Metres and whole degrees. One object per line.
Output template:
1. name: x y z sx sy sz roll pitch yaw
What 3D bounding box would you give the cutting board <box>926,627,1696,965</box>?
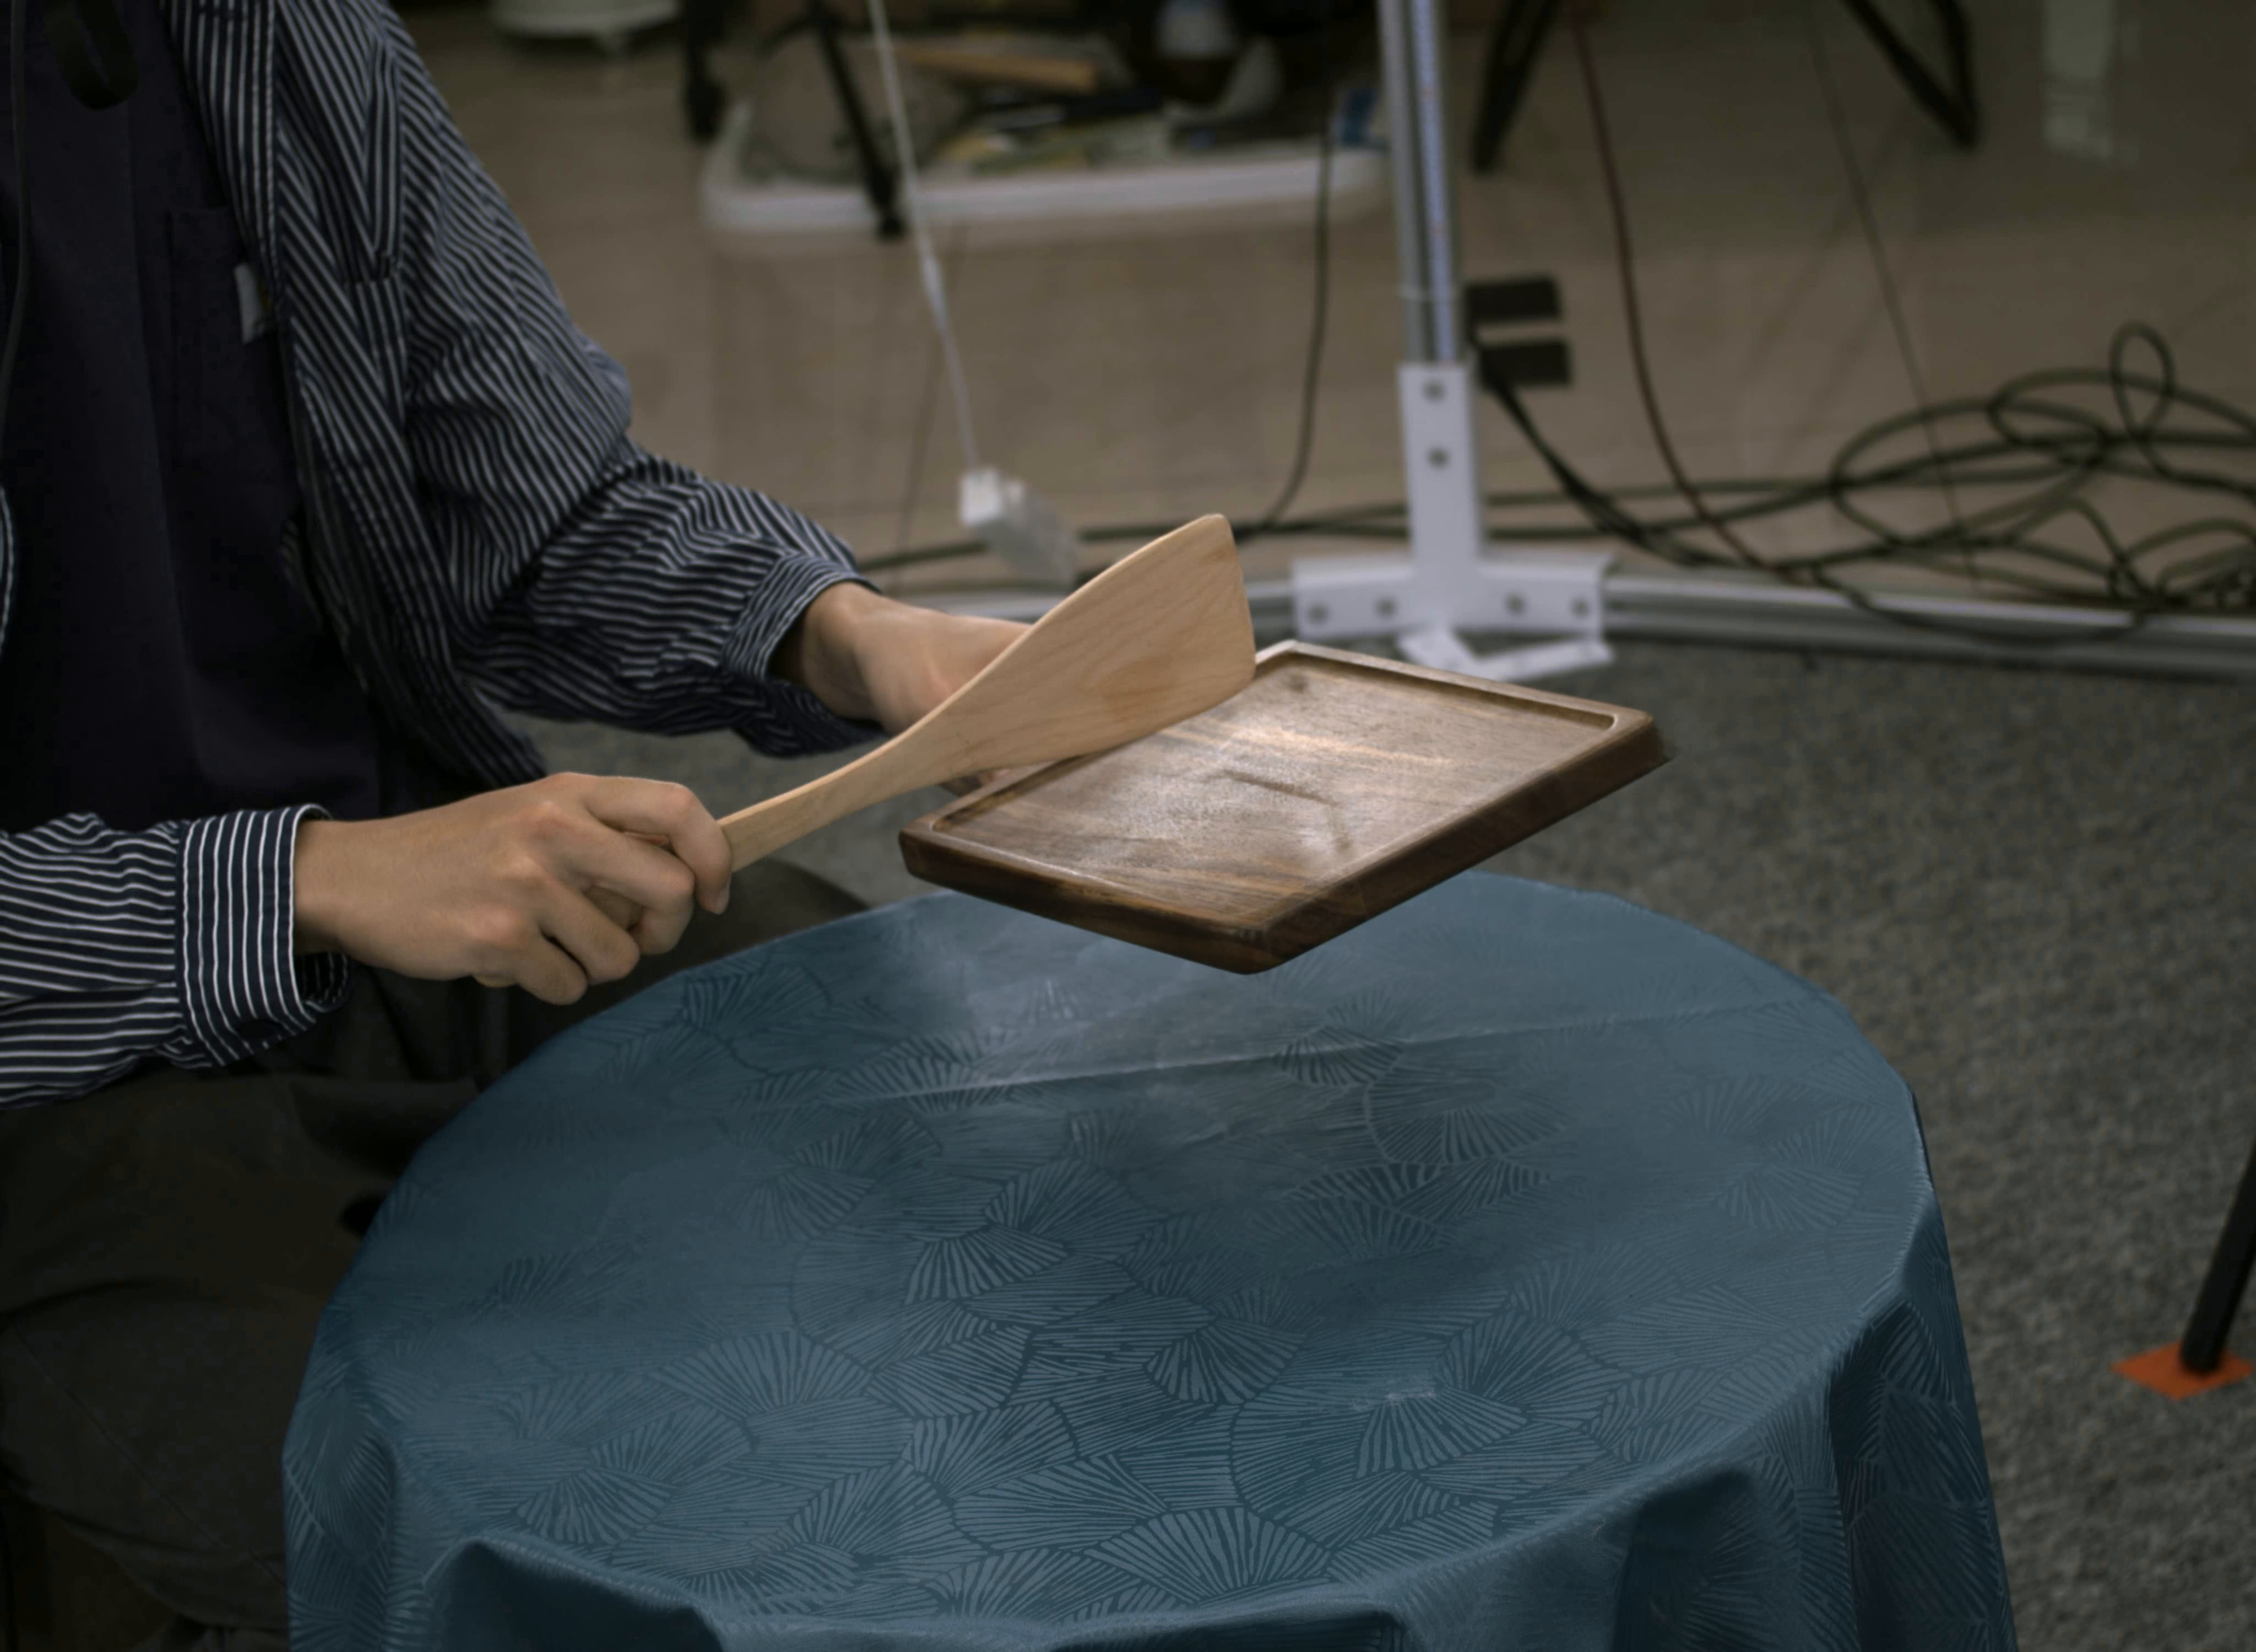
1. cutting board: 0.039 -0.023 2.170 0.199 0.023 0.350 -27 22 -25

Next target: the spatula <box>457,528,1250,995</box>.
1. spatula: -0.101 -0.013 2.117 0.327 0.081 0.016 -25 38 1
